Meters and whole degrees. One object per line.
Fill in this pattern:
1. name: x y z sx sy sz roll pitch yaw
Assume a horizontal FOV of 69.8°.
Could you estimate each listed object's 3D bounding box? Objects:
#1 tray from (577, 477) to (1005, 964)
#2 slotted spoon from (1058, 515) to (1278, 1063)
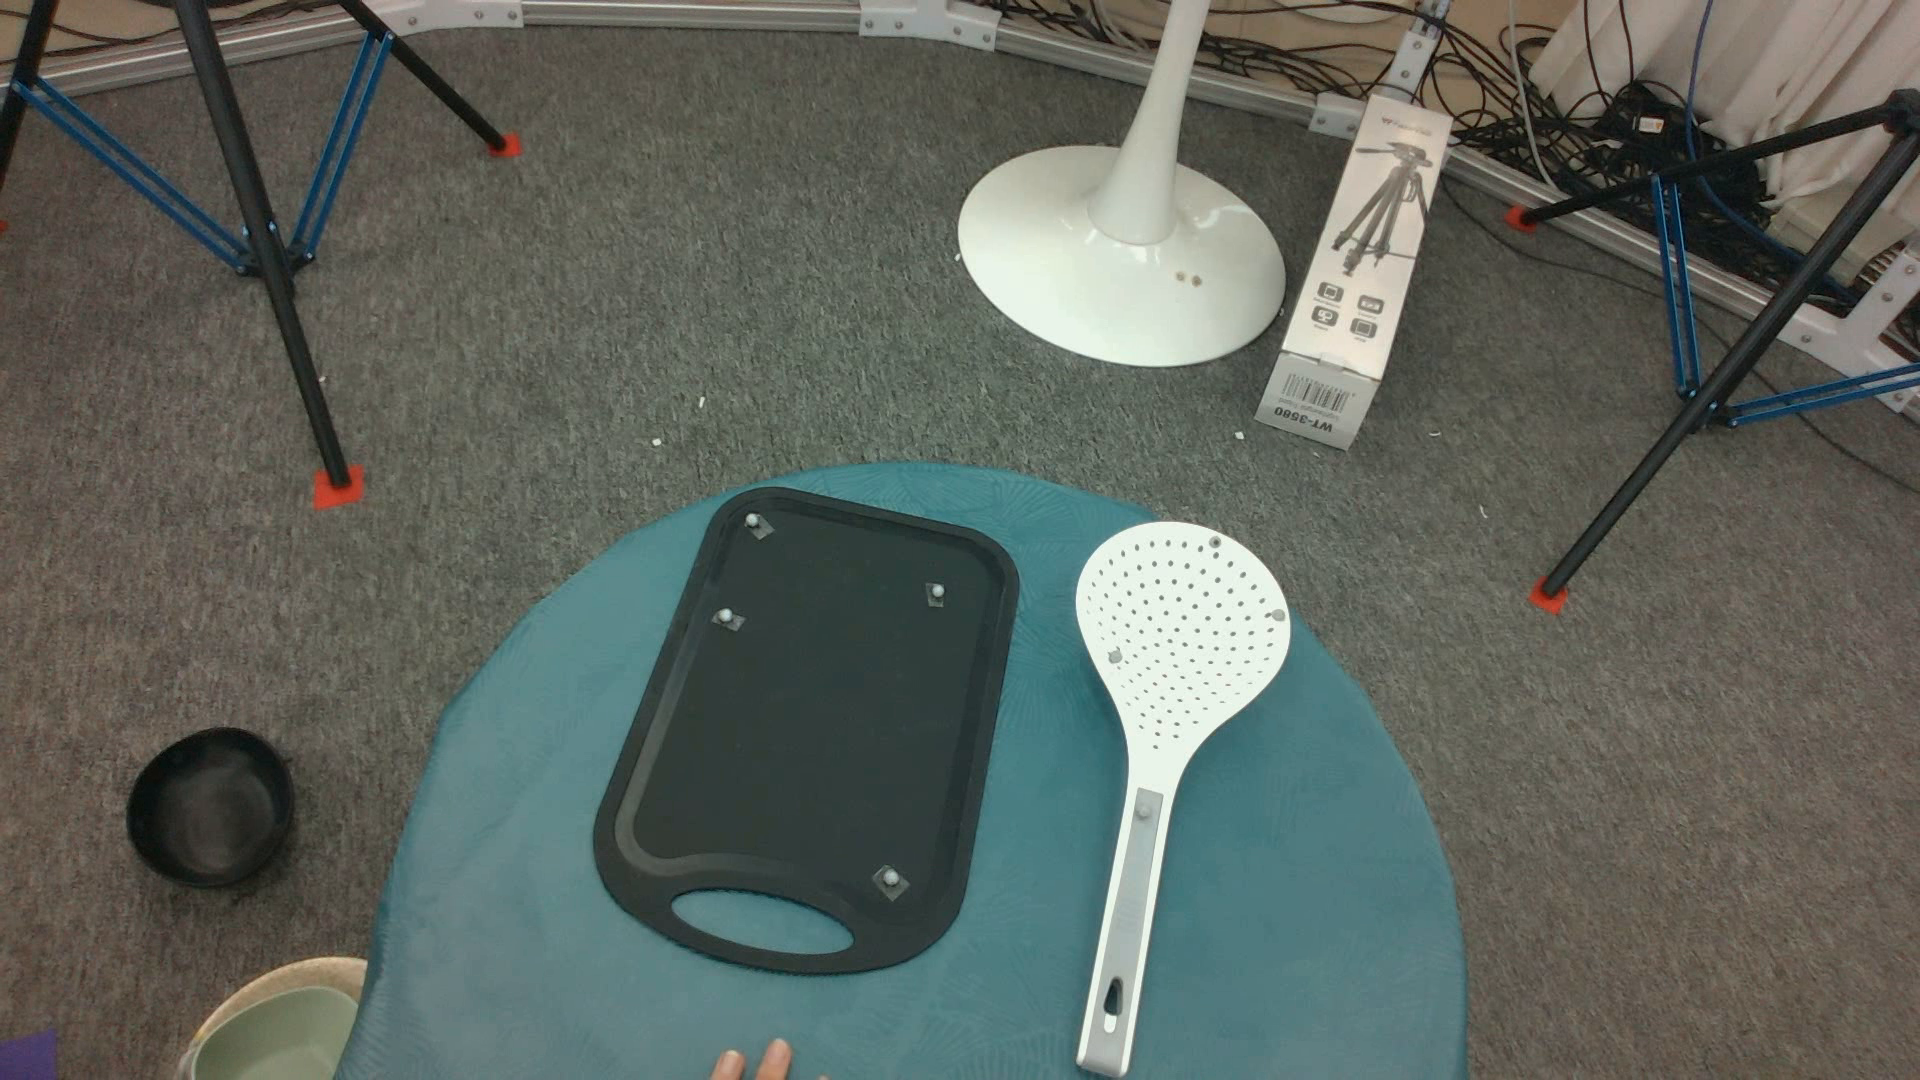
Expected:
1. tray: -0.092 0.094 0.826 0.211 0.010 0.327 13 51 0
2. slotted spoon: 0.107 0.130 0.811 0.136 0.045 0.351 14 51 4
